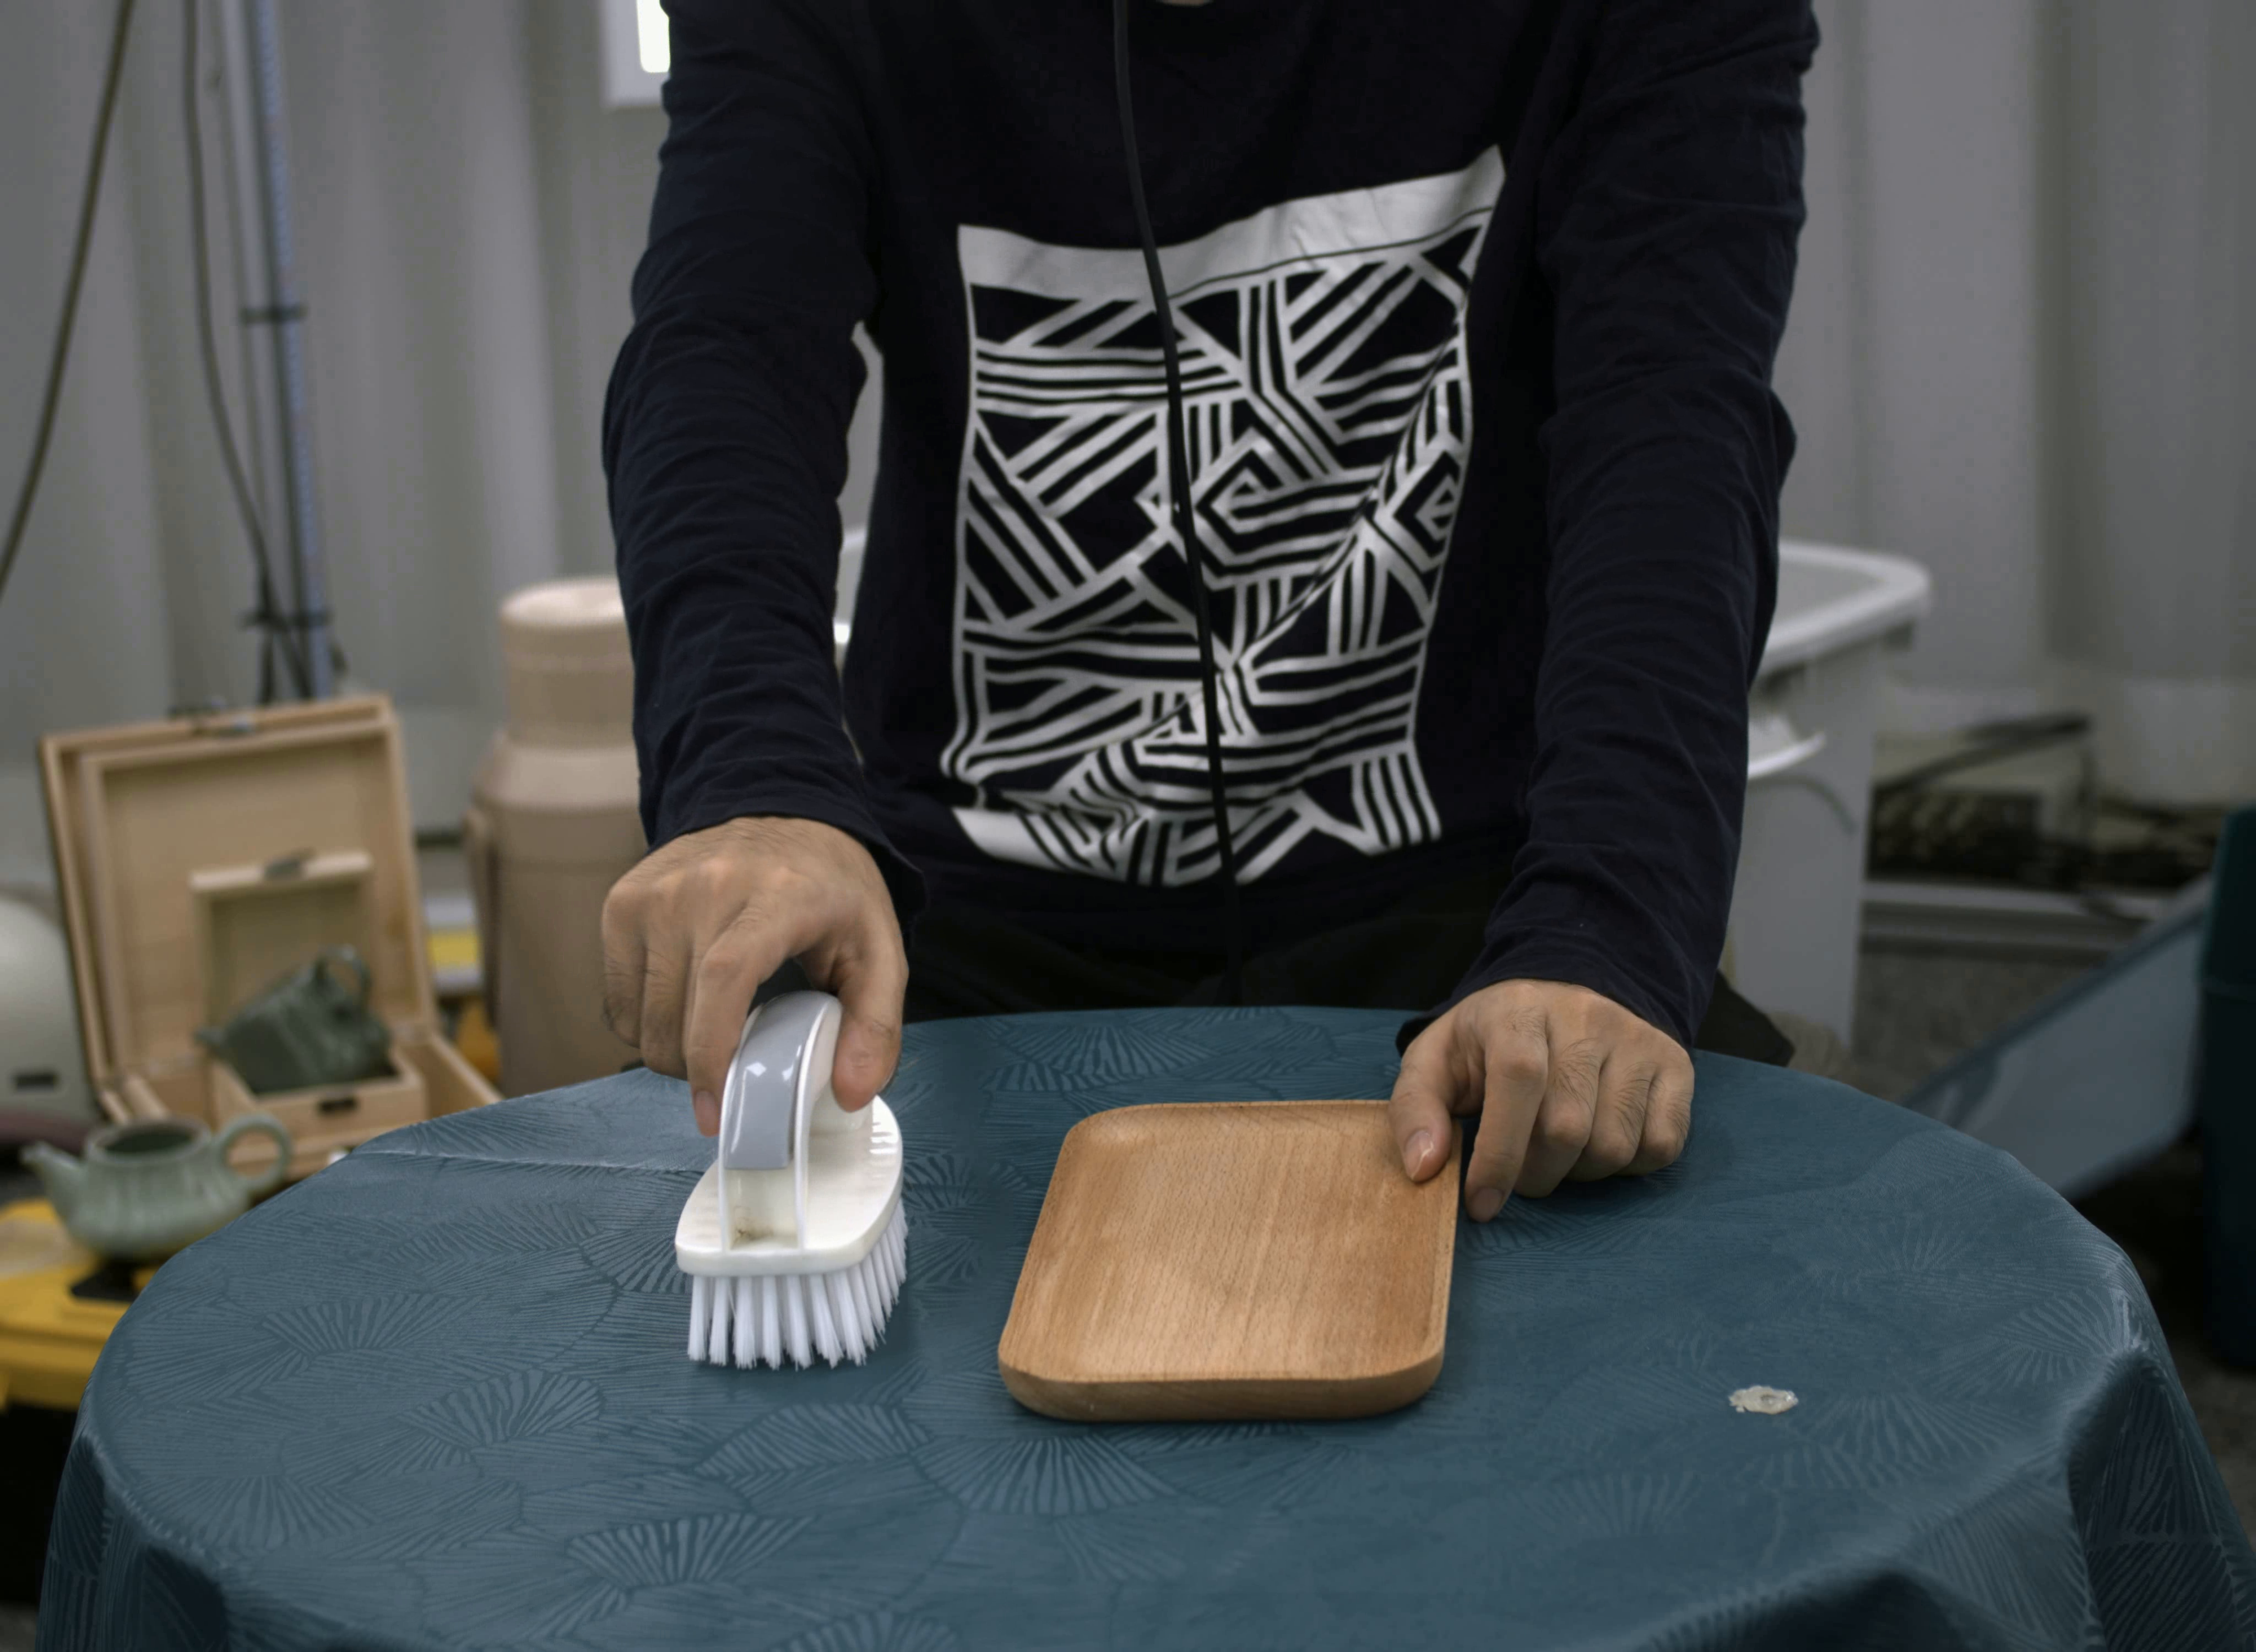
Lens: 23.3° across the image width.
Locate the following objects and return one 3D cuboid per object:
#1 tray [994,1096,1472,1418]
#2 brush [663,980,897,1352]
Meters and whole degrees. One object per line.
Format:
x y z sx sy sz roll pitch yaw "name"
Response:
0.035 0.126 1.633 0.130 0.023 0.252 1 14 6 "tray"
-0.098 0.091 1.646 0.061 0.094 0.176 -1 13 8 "brush"
